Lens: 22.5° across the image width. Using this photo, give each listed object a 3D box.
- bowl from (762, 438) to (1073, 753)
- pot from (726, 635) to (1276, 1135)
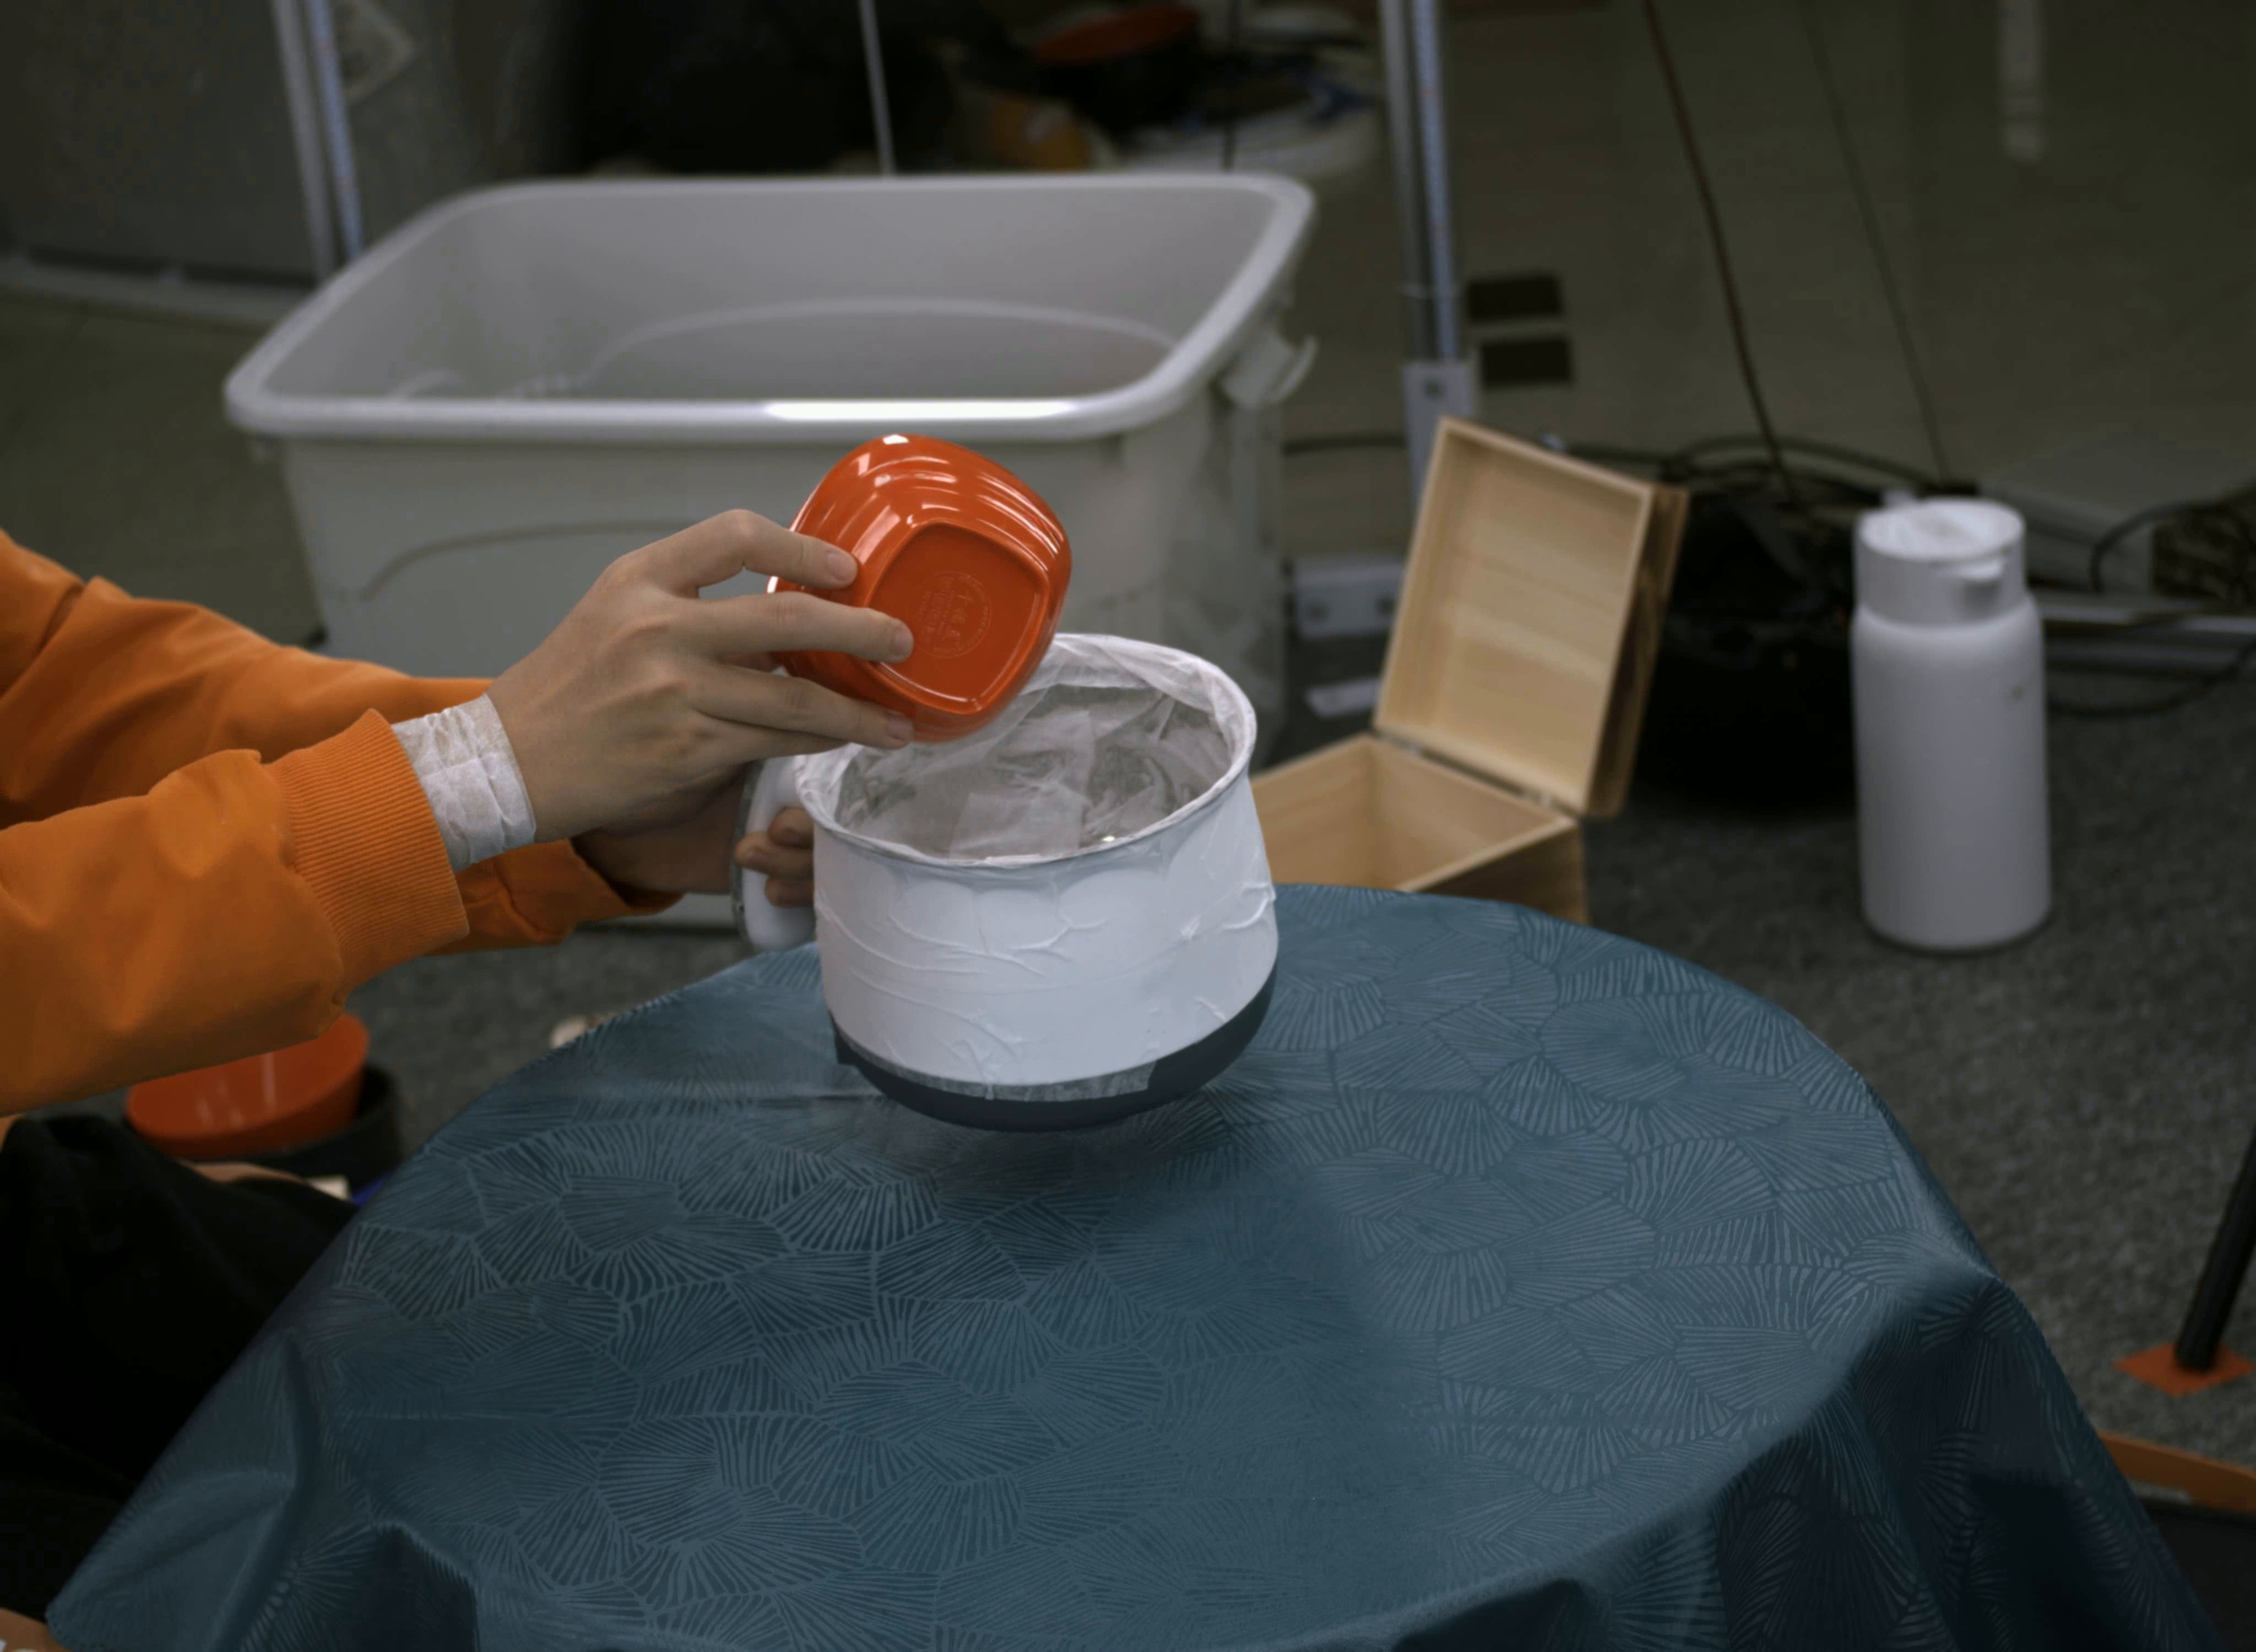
[{"bbox_3d":[-0.071,-0.079,2.062,0.118,0.120,0.051,-13,20,-15],"label":"bowl"},{"bbox_3d":[-0.058,0.020,2.181,0.232,0.139,0.176,12,35,28],"label":"pot"}]
